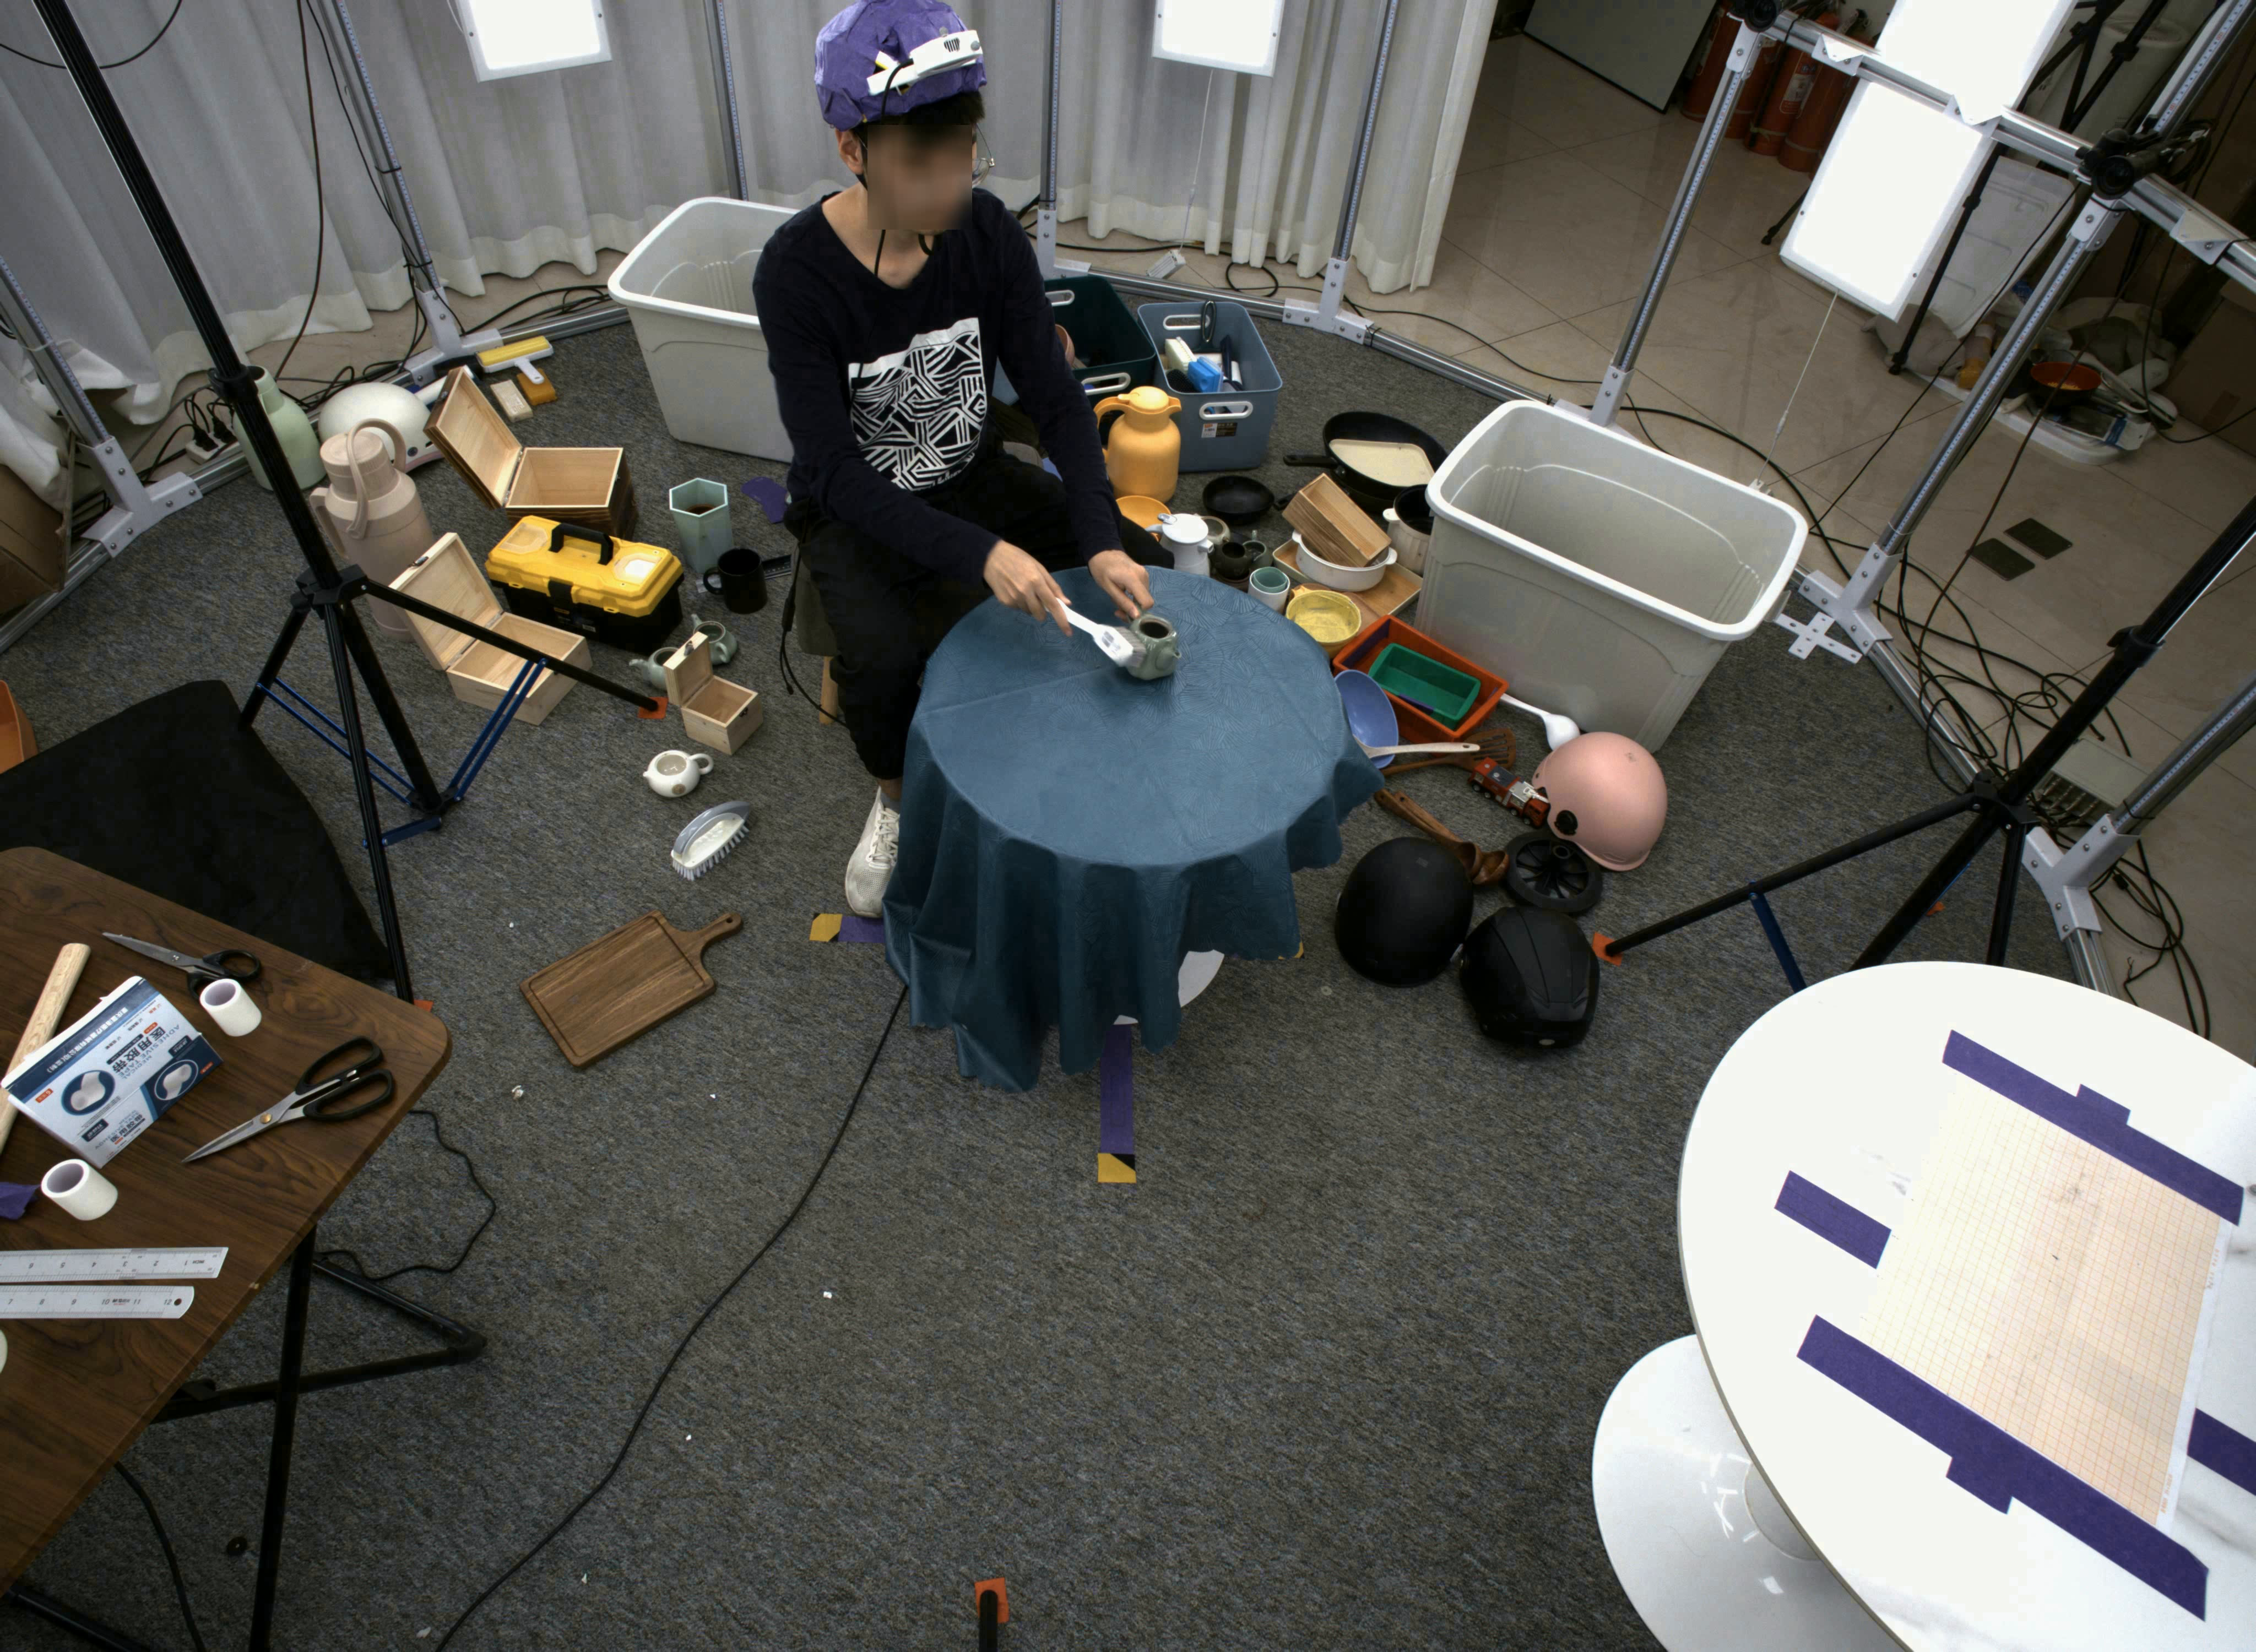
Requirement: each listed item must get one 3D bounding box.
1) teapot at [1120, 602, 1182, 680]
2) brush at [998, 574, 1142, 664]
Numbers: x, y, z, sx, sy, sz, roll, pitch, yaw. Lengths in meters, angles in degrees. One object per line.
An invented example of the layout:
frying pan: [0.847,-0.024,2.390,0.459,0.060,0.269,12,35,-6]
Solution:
teapot: [0.032,-0.259,1.844,0.080,0.073,0.135,-16,51,-30]
brush: [-0.082,-0.302,1.841,0.246,0.034,0.050,34,36,22]
